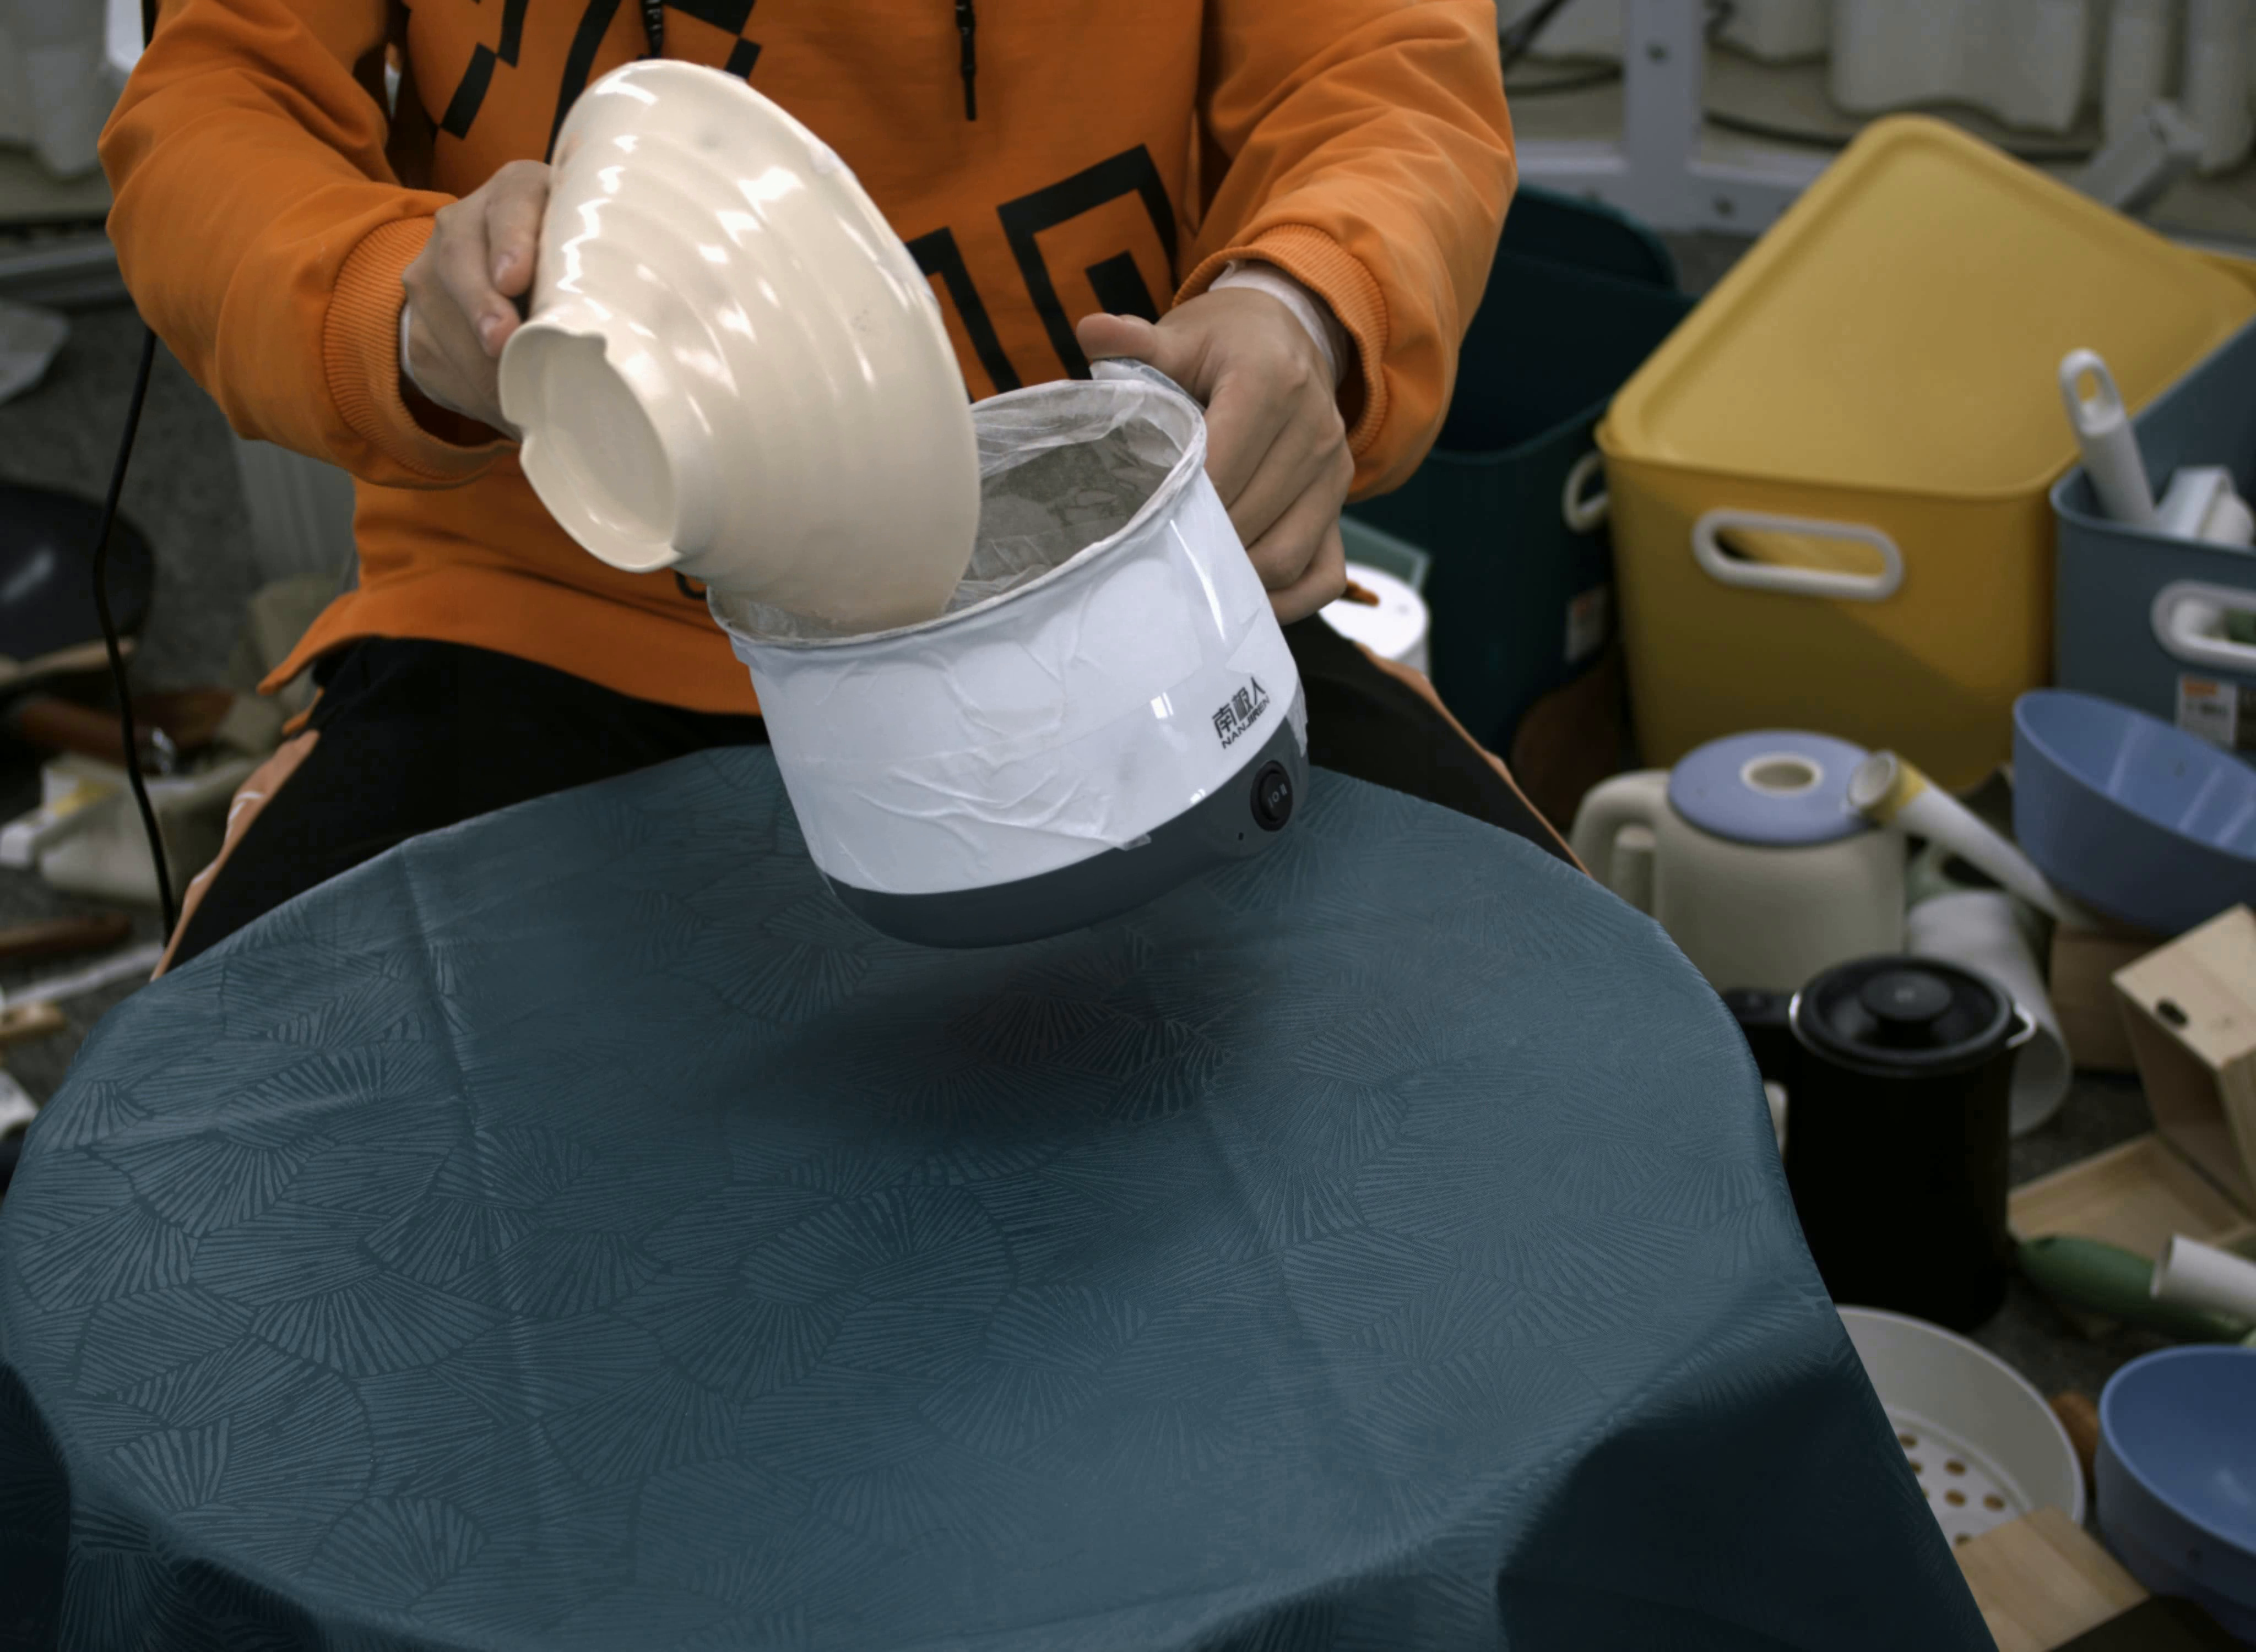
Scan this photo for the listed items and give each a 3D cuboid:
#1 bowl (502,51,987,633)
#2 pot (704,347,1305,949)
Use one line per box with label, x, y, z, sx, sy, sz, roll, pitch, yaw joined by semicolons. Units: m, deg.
bowl;-0.142;-0.137;1.797;0.203;0.201;0.079;22;41;39
pot;-0.024;-0.067;1.914;0.177;0.135;0.238;-1;31;35
